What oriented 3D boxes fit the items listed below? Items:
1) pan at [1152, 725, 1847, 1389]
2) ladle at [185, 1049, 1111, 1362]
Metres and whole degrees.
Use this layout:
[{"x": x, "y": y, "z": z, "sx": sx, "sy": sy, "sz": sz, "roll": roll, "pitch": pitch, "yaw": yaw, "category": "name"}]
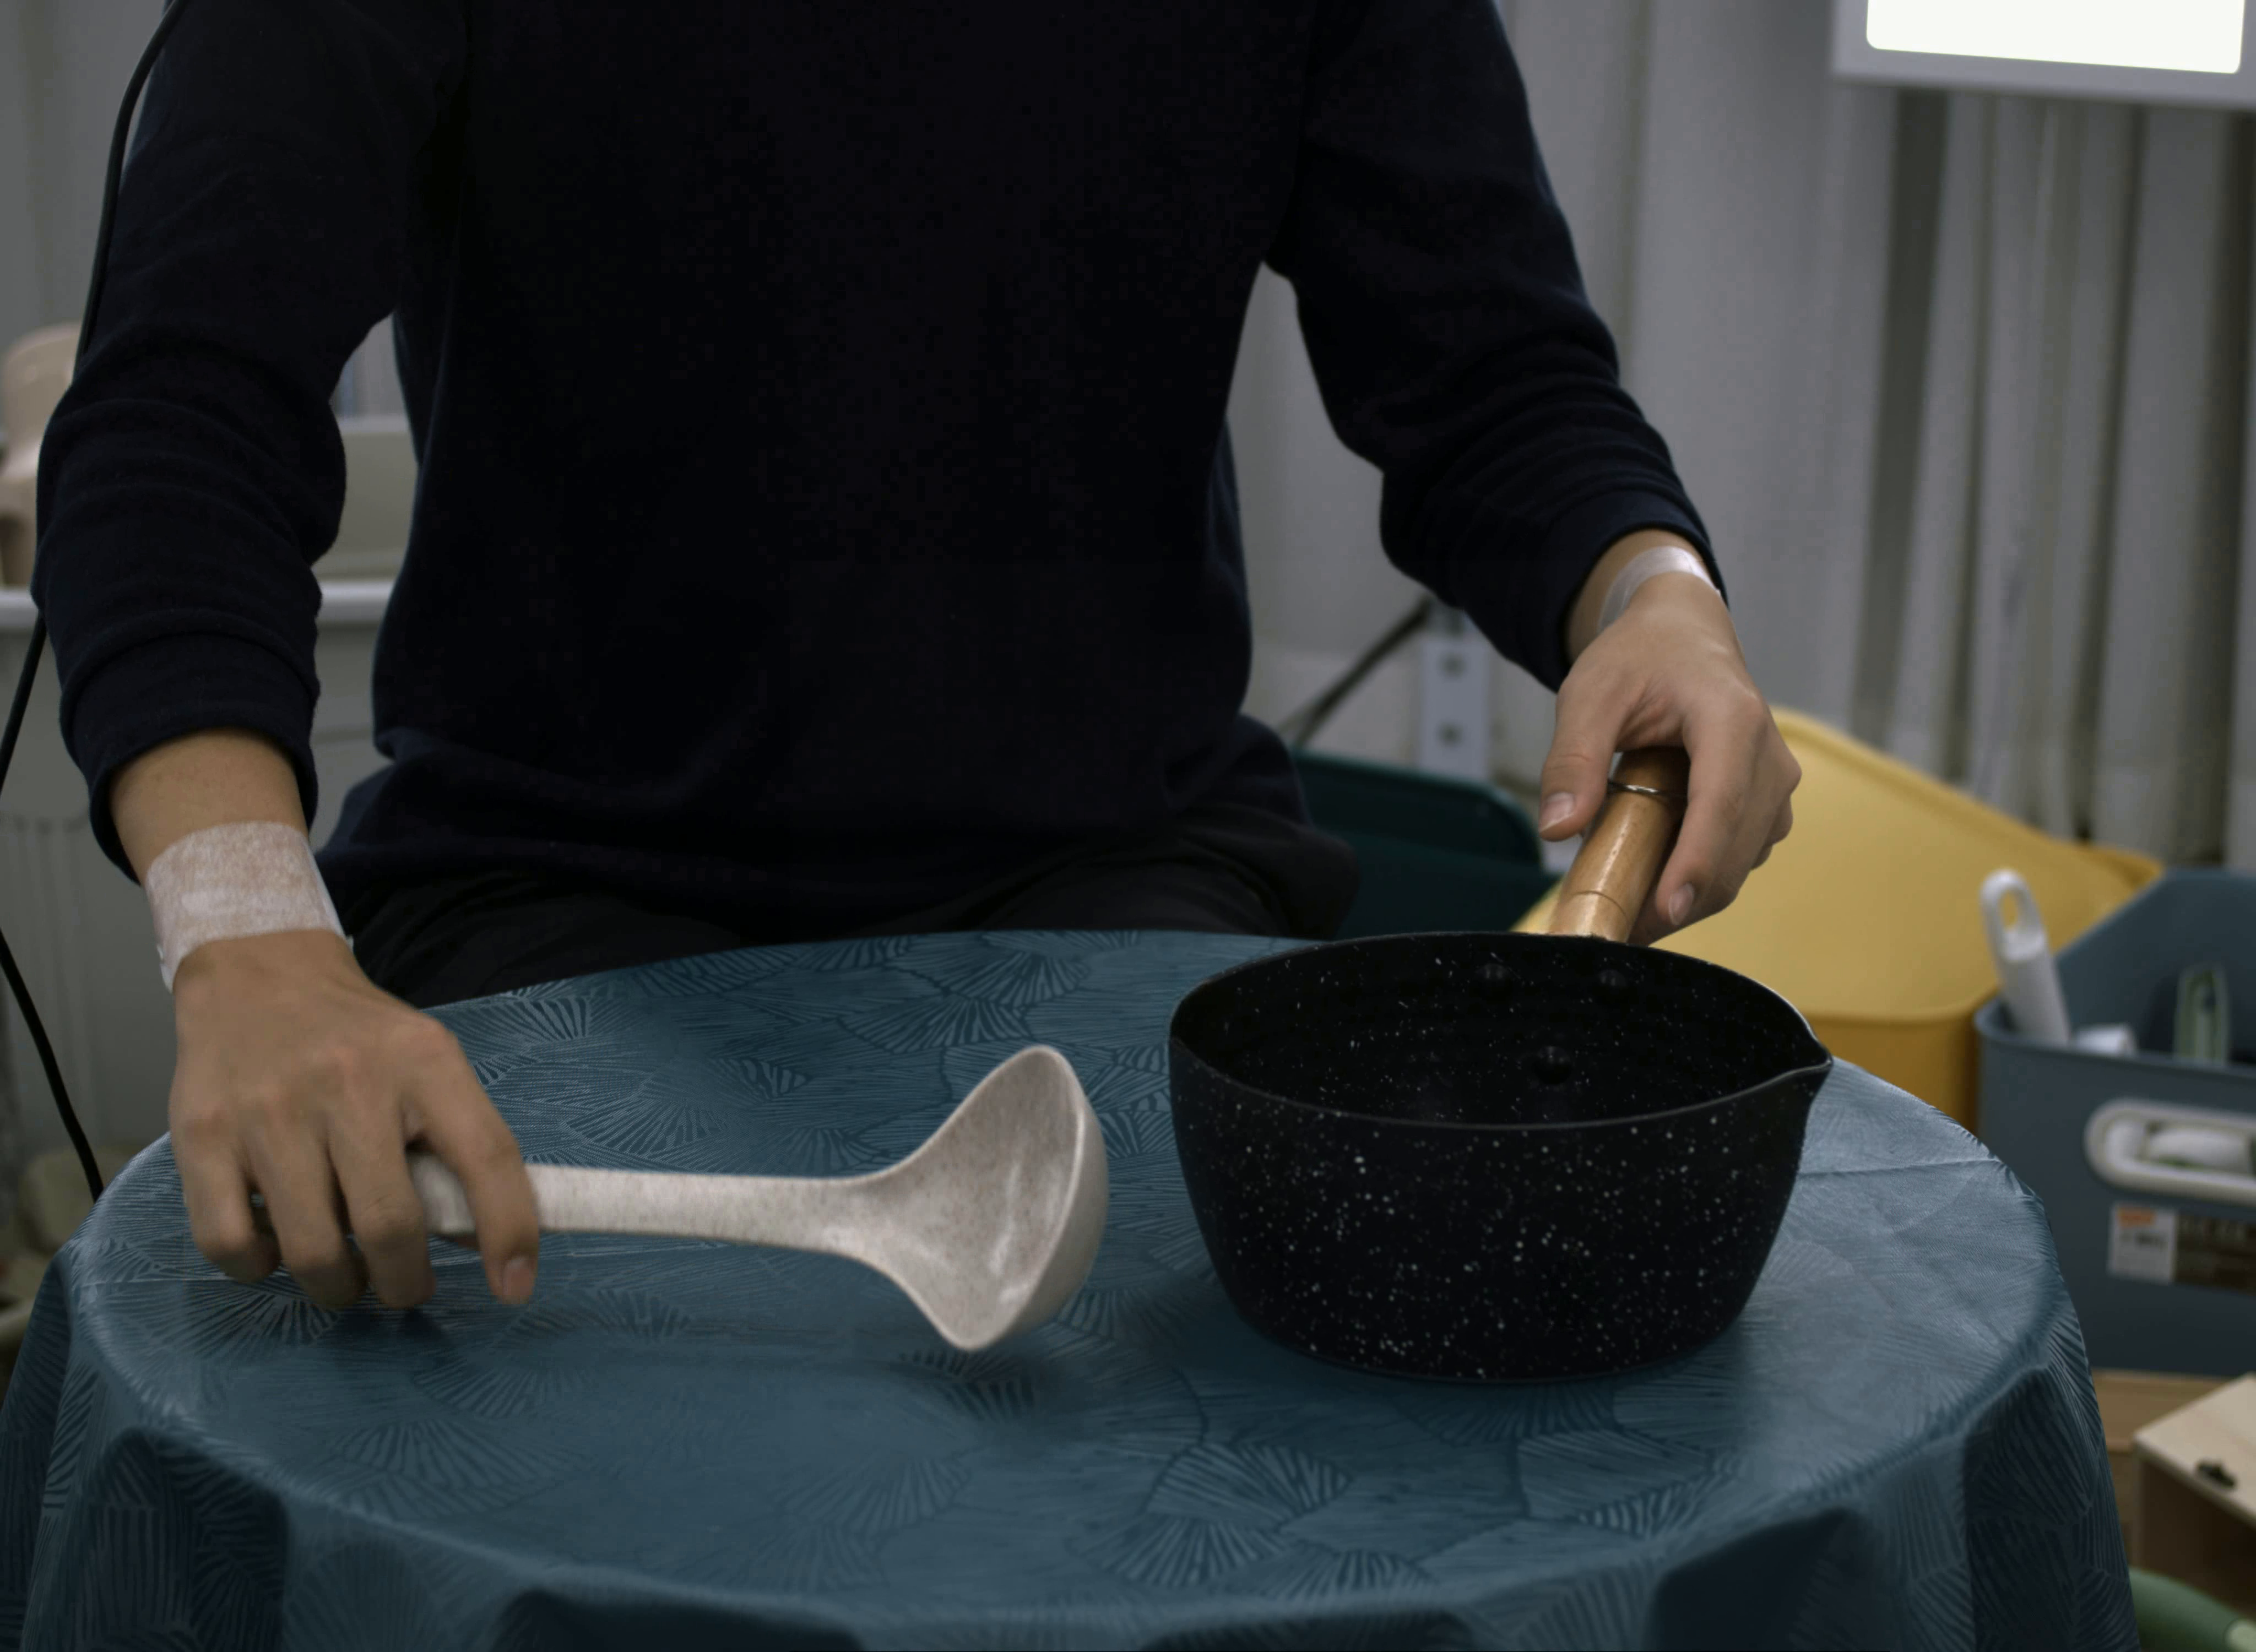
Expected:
[{"x": 0.125, "y": 0.064, "z": 1.596, "sx": 0.206, "sy": 0.109, "sz": 0.342, "roll": 3, "pitch": 17, "yaw": 15, "category": "pan"}, {"x": -0.140, "y": 0.103, "z": 1.477, "sx": 0.273, "sy": 0.089, "sz": 0.070, "roll": 2, "pitch": -19, "yaw": 6, "category": "ladle"}]
